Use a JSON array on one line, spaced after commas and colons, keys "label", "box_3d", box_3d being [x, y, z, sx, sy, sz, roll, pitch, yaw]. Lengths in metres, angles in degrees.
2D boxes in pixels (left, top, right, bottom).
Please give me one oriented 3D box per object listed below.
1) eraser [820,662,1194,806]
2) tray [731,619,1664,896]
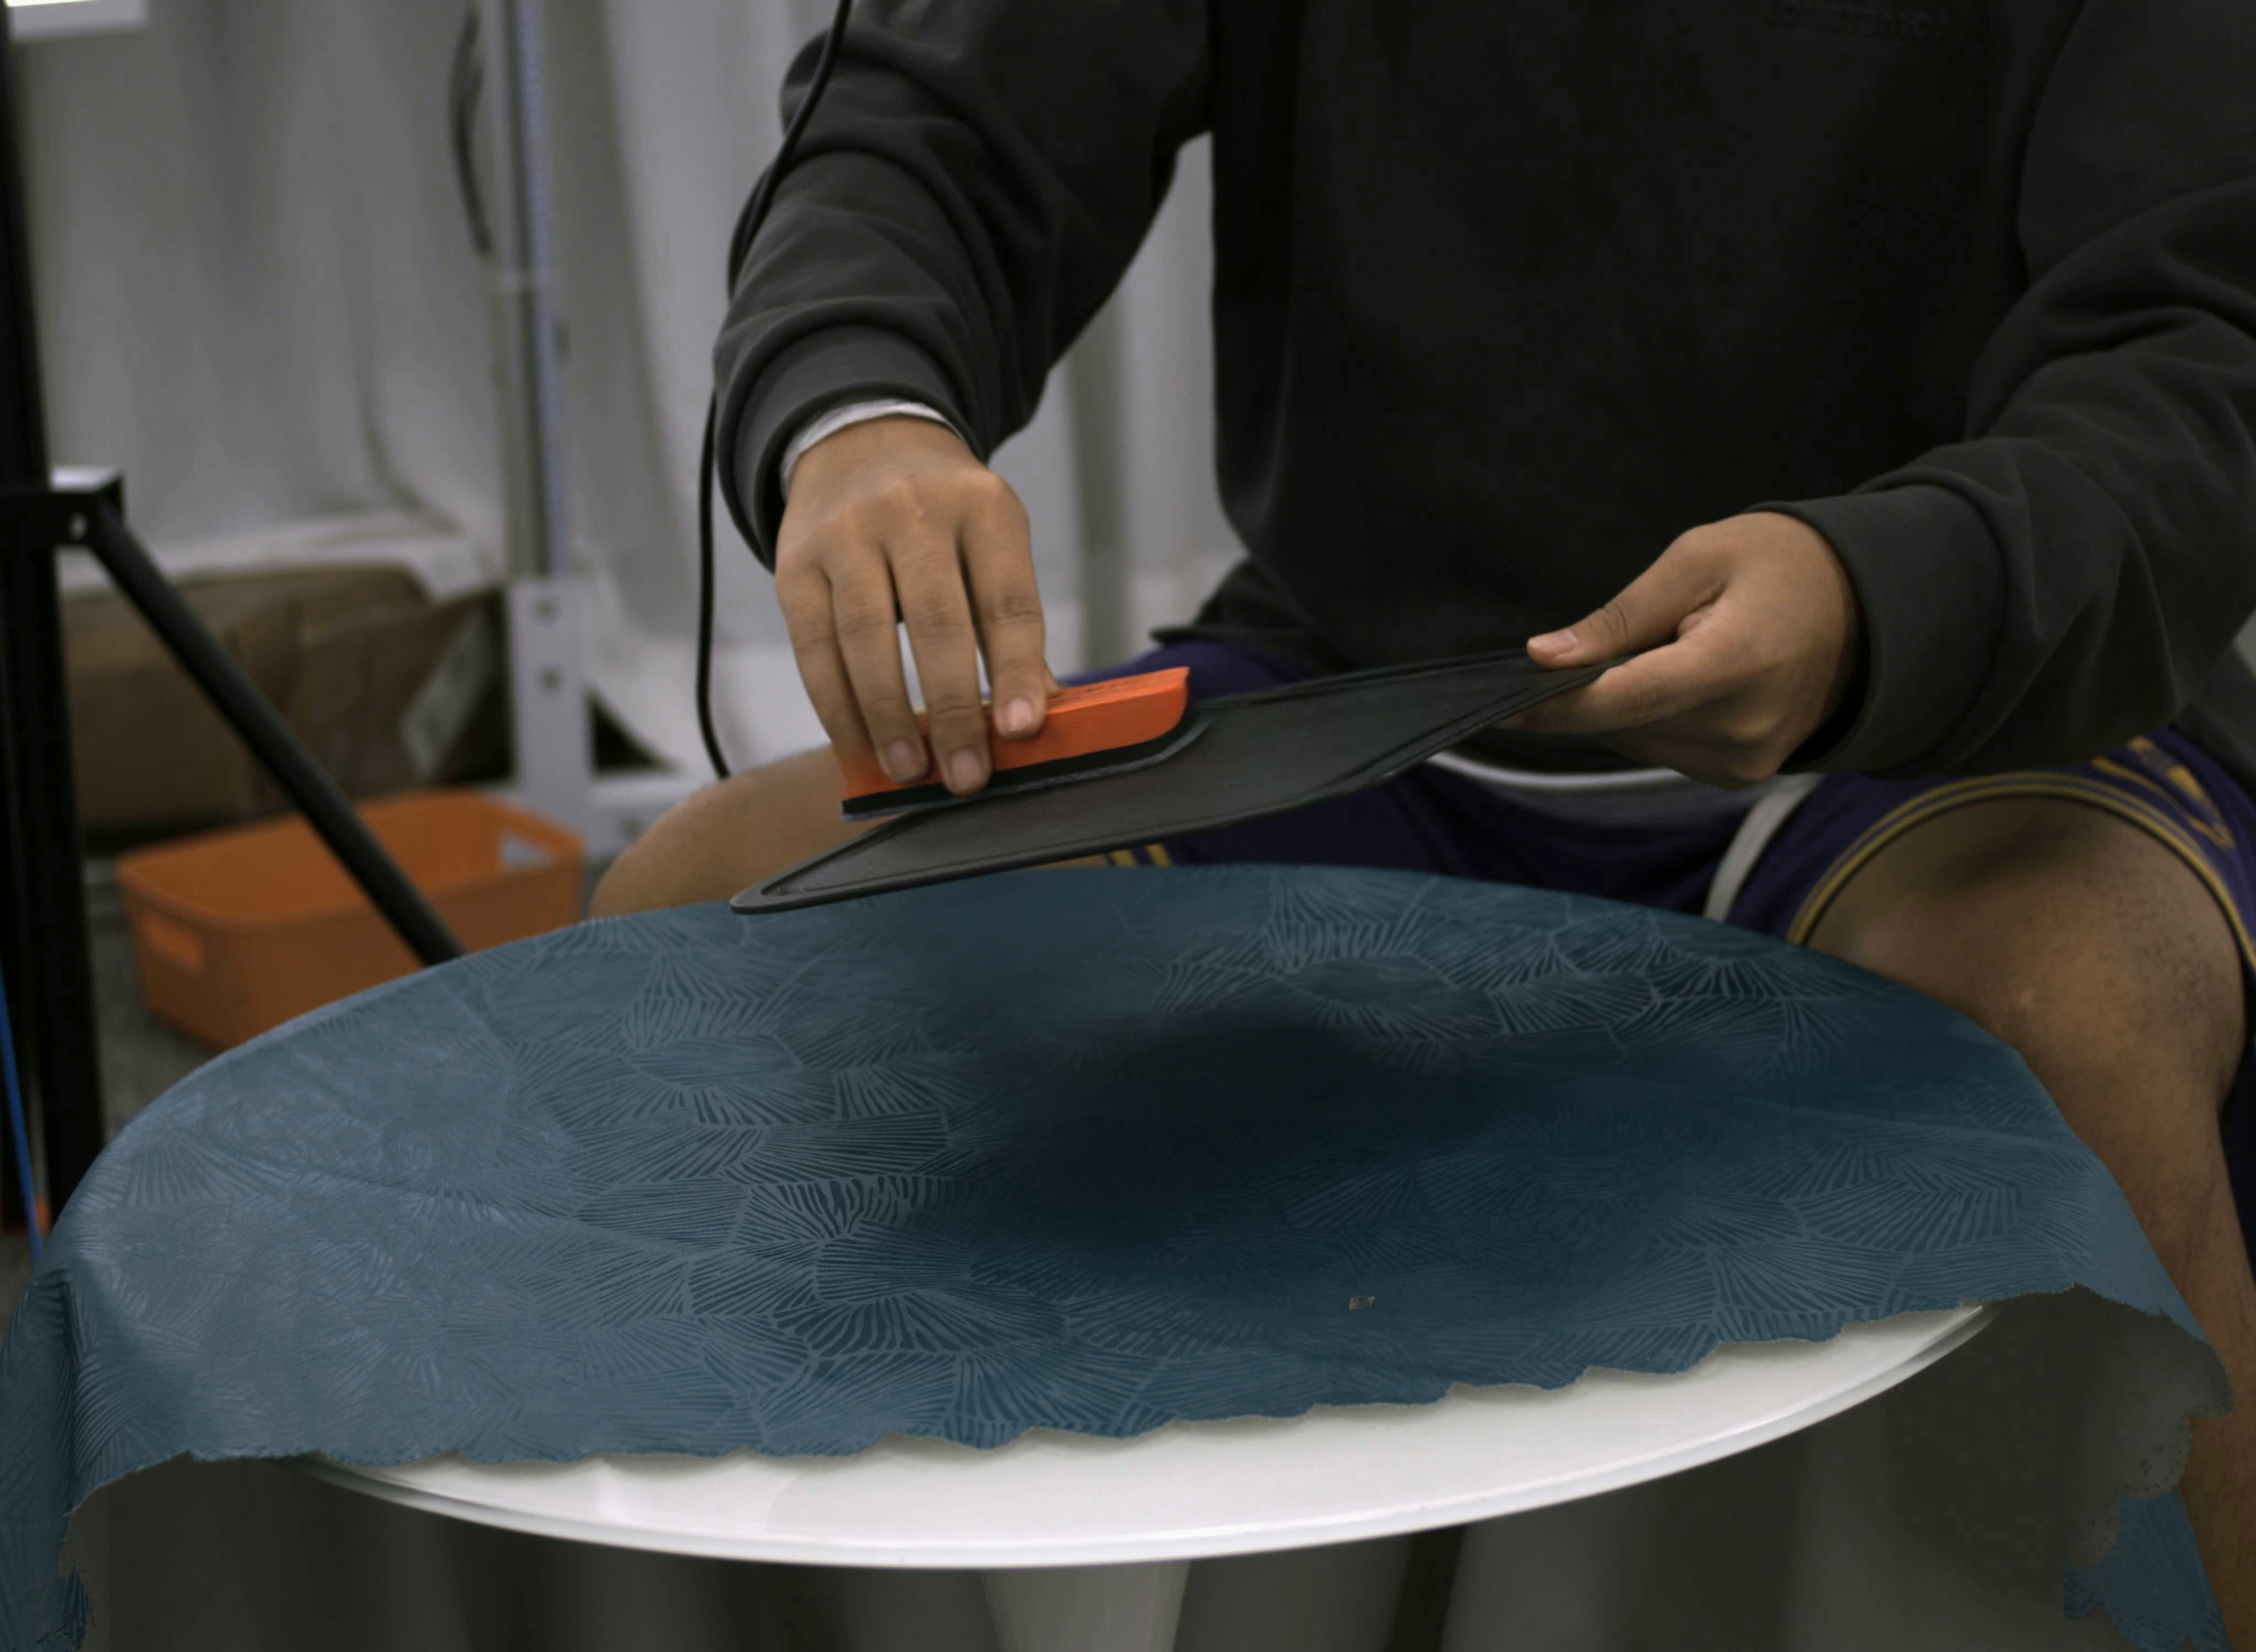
[{"label": "eraser", "box_3d": [-0.037, -0.028, 1.645, 0.109, 0.023, 0.058, -9, 8, 22]}, {"label": "tray", "box_3d": [0.029, -0.024, 1.601, 0.214, 0.010, 0.320, -10, 7, 28]}]
